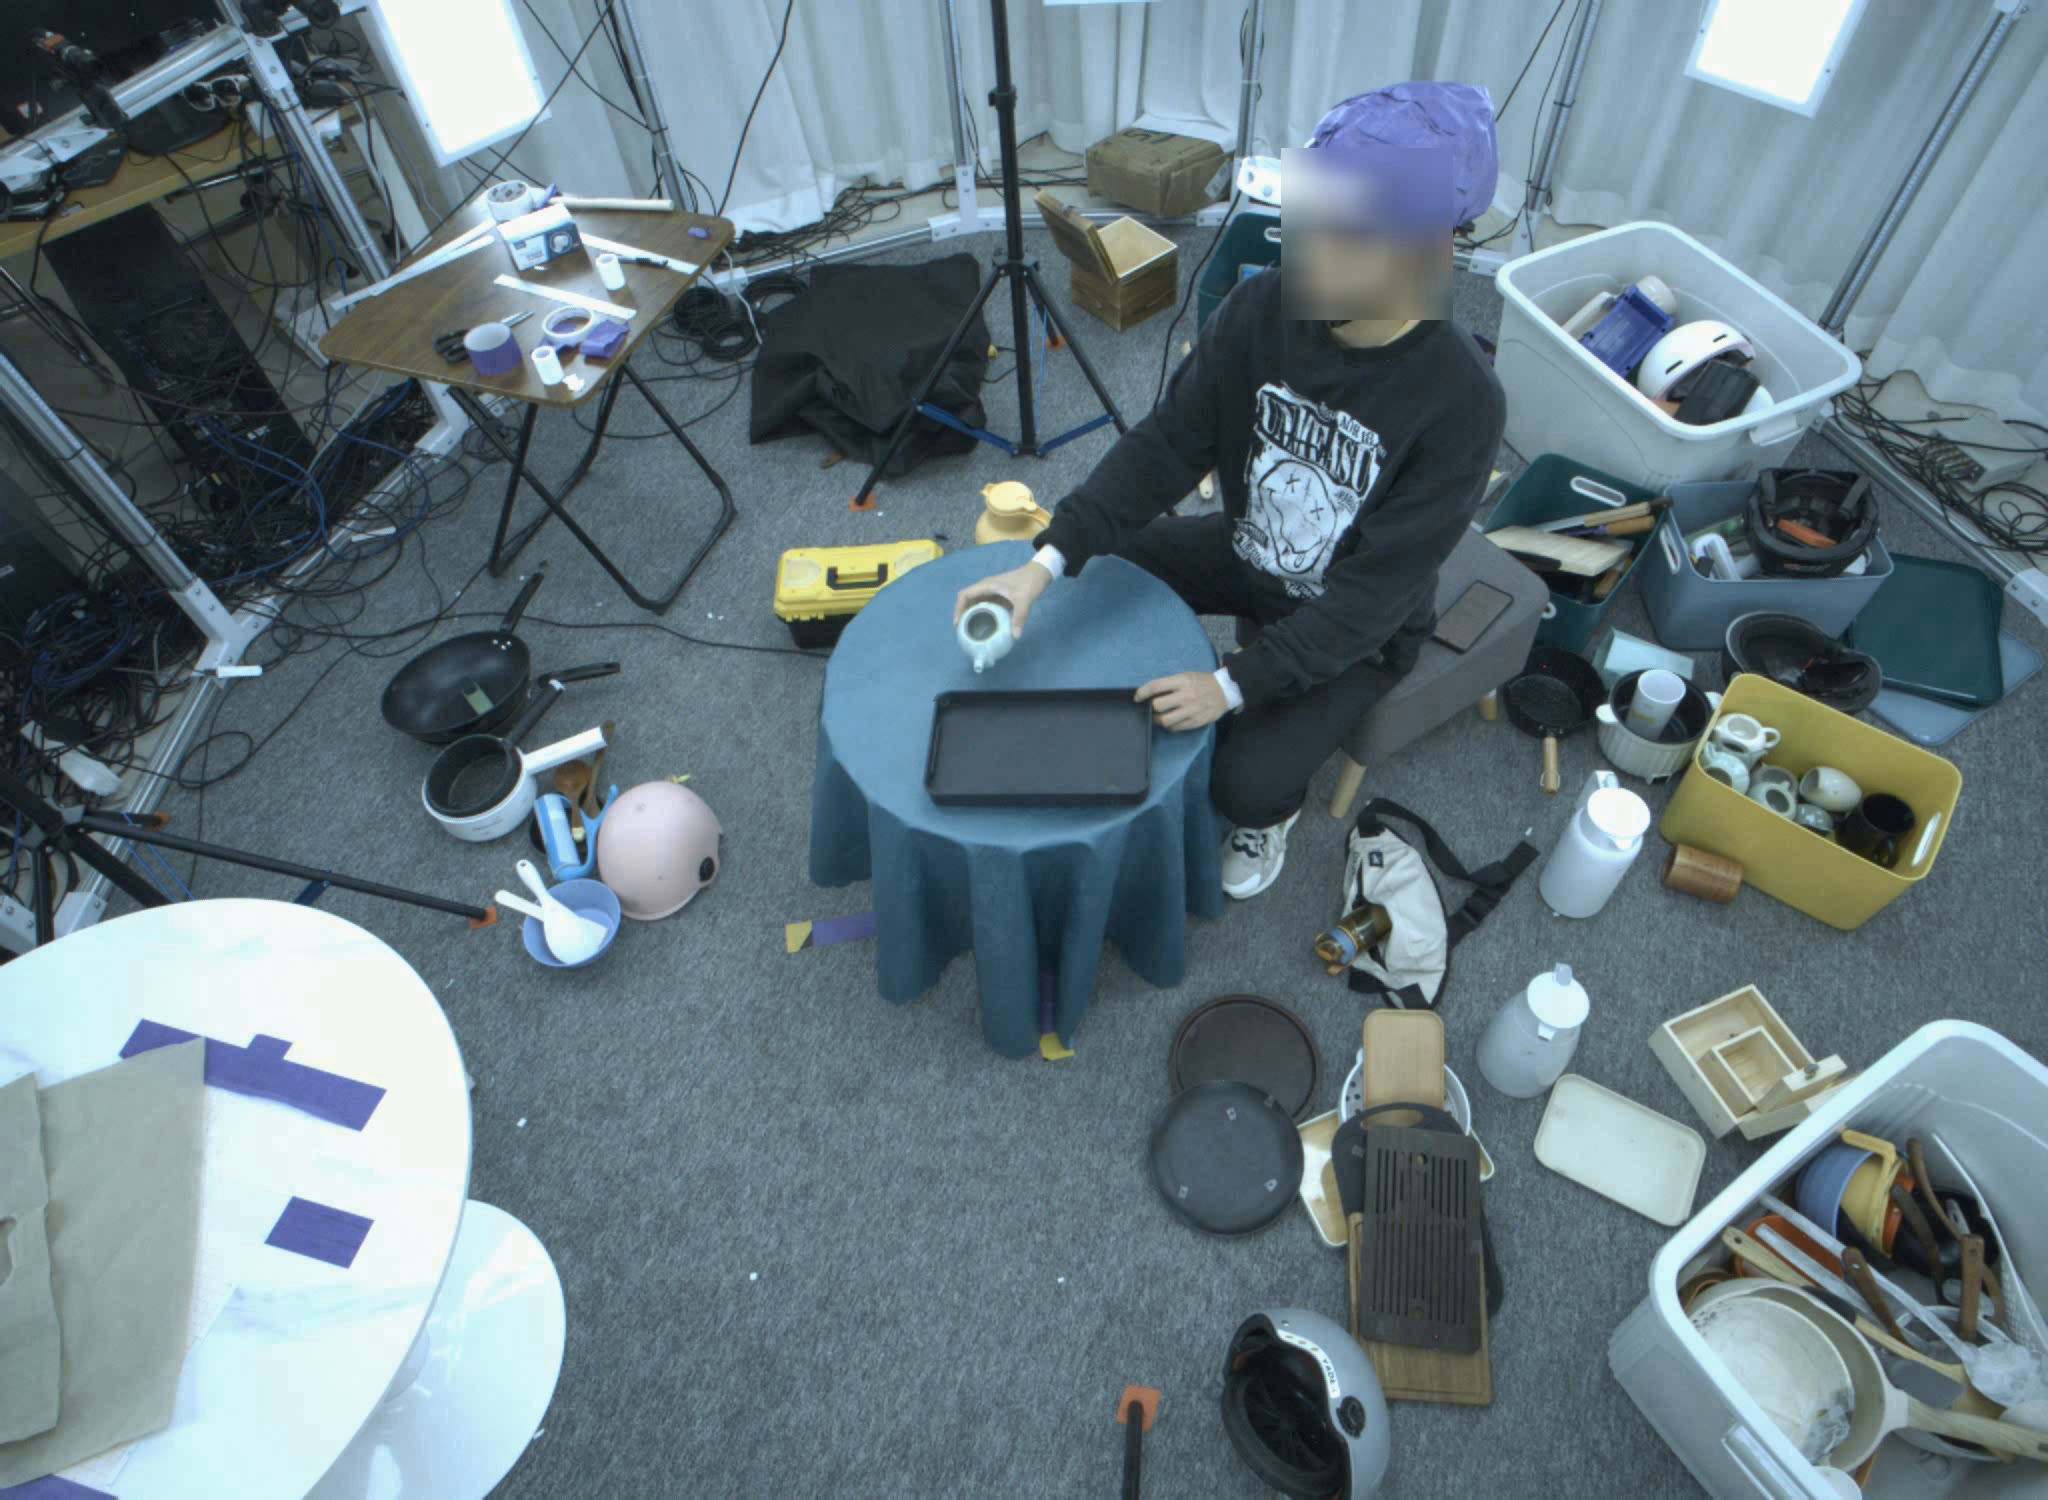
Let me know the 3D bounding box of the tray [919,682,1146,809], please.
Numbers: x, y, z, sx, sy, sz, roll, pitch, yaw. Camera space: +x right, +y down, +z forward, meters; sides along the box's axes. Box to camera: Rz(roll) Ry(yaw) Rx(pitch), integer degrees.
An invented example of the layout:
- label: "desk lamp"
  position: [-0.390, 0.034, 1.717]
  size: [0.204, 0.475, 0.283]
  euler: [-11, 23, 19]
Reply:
- label: "tray"
  position: [0.015, -0.007, 1.748]
  size: [0.316, 0.037, 0.182]
  euler: [-2, 57, 6]

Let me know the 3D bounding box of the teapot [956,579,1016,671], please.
- label: "teapot"
  position: [-0.057, -0.175, 1.803]
  size: [0.087, 0.076, 0.143]
  euler: [0, 77, 13]
